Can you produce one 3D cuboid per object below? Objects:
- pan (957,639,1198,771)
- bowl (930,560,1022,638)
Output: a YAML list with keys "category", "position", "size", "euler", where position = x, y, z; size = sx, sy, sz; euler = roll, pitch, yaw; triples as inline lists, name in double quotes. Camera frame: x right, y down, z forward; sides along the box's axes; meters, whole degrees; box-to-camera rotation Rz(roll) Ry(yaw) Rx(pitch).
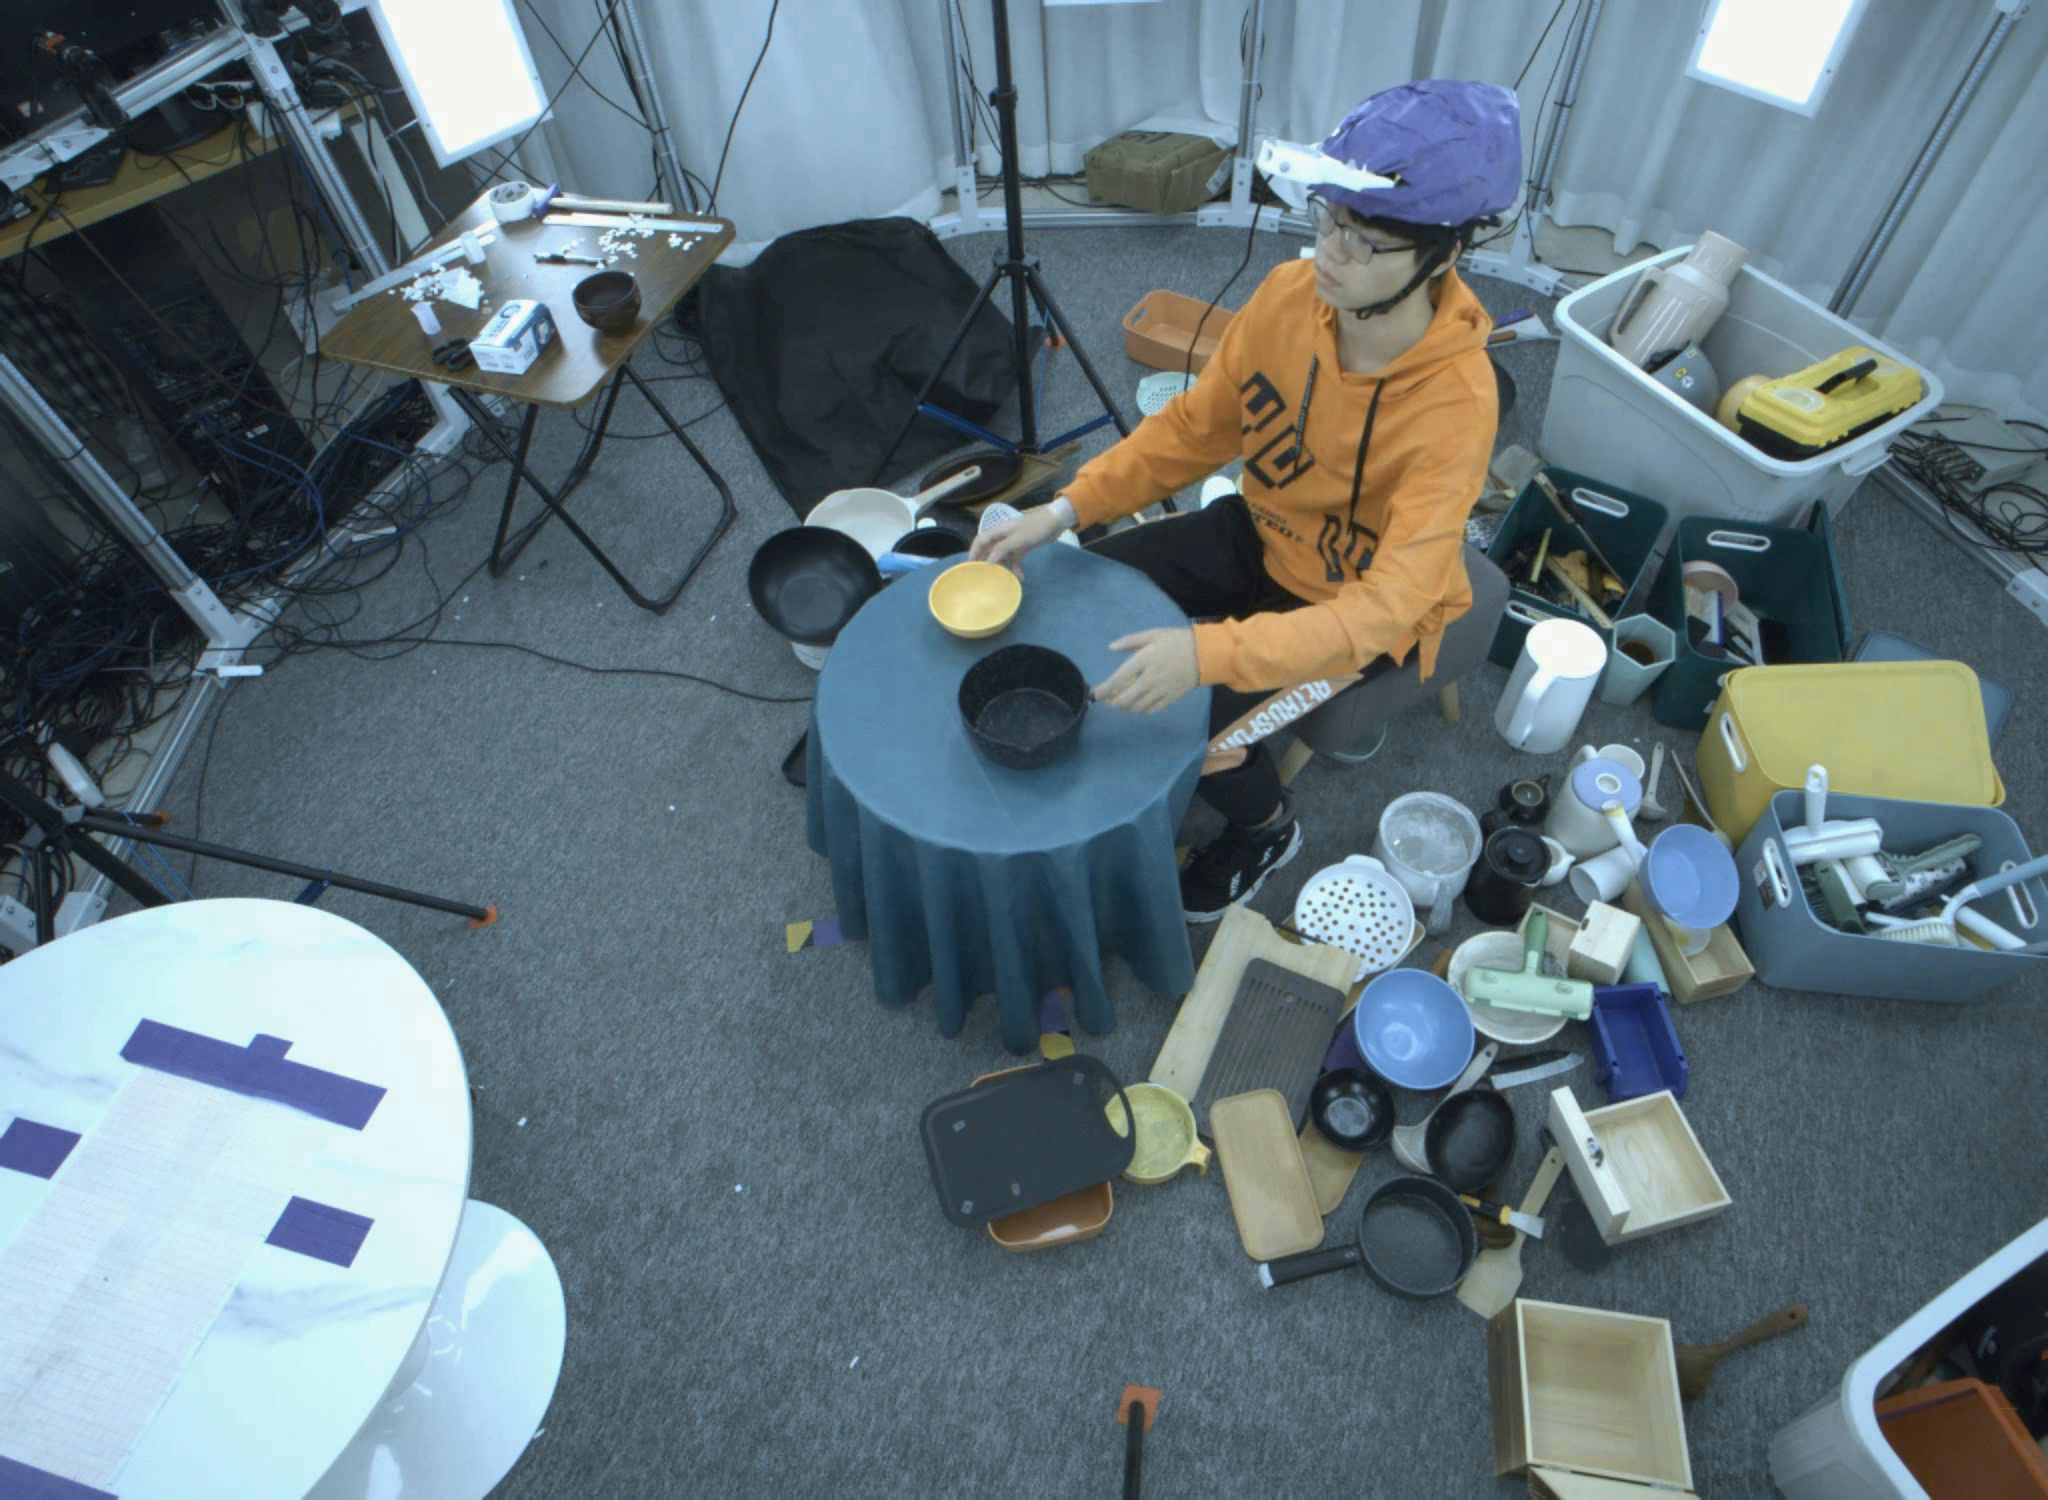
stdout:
- category: "pan"
  position: [0.078, -0.072, 1.768]
  size: [0.343, 0.109, 0.204]
  euler: [-8, 53, -1]
- category: "bowl"
  position: [-0.074, -0.224, 1.912]
  size: [0.145, 0.061, 0.144]
  euler: [0, 56, 1]
